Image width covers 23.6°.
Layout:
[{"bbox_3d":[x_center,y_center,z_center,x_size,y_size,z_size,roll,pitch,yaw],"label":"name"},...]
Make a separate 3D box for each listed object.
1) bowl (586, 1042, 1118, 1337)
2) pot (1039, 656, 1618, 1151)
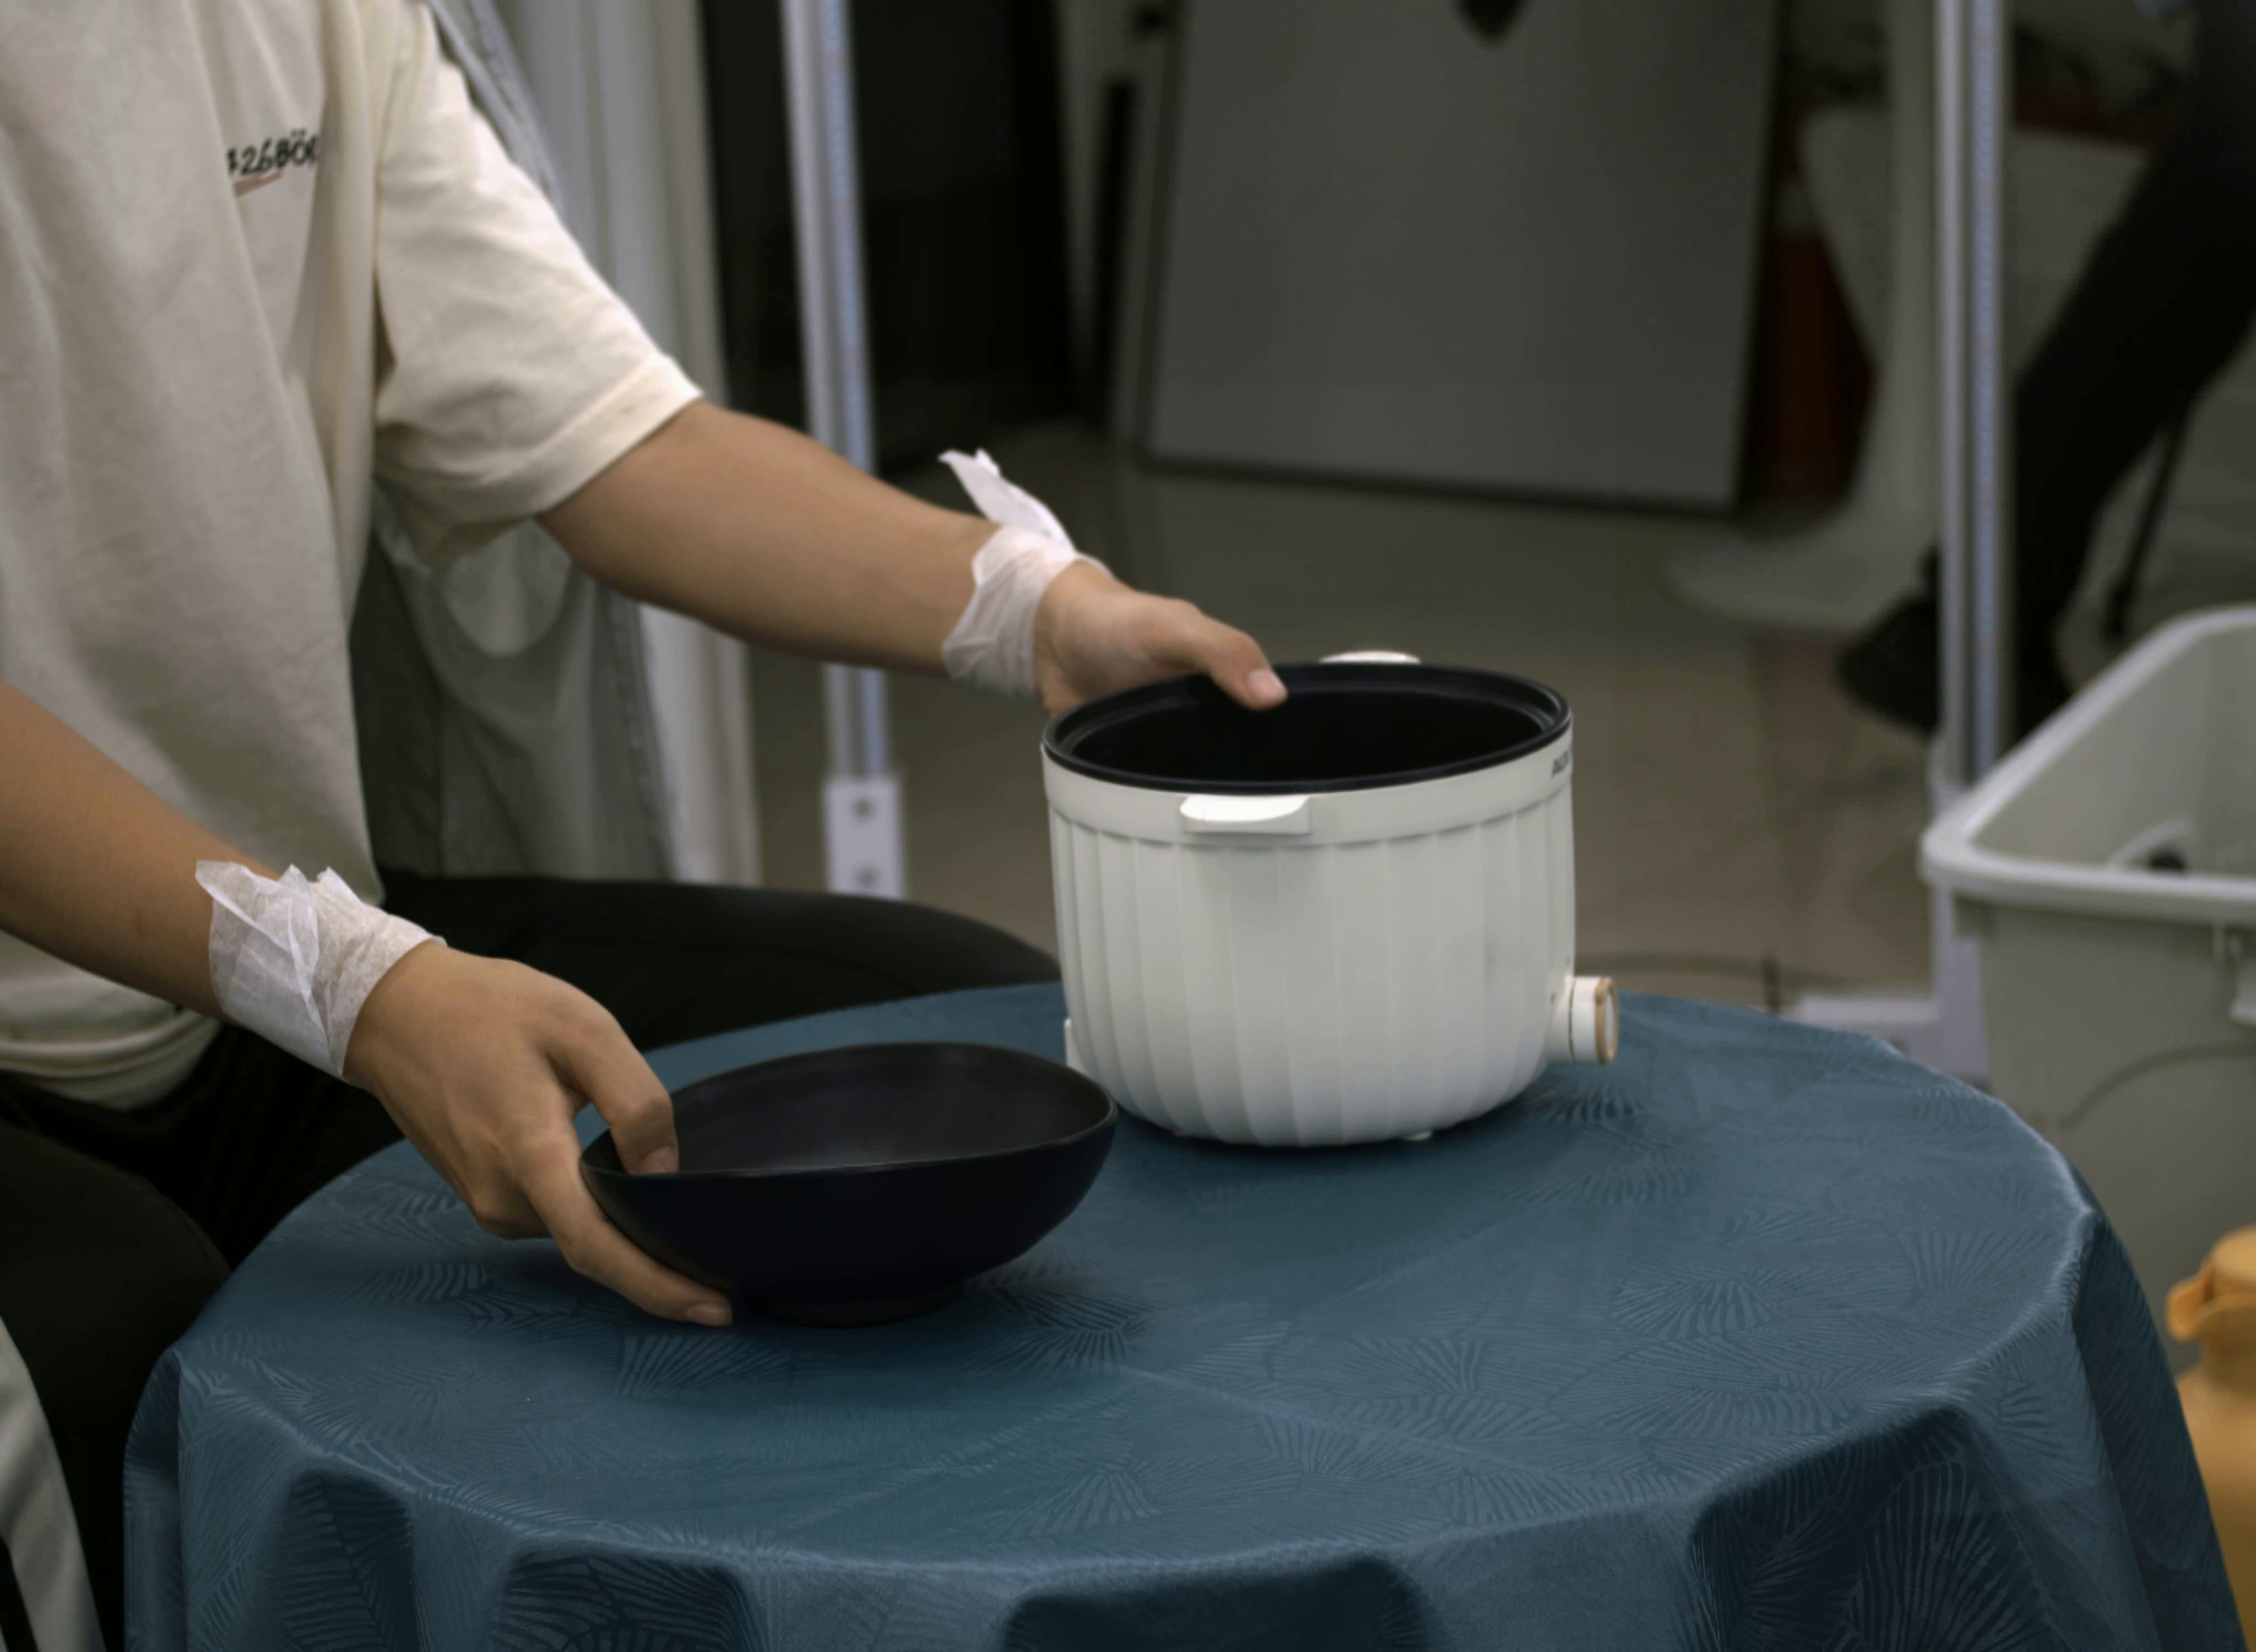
[{"bbox_3d":[-0.085,0.118,1.680,0.168,0.067,0.137,-4,12,6],"label":"bowl"},{"bbox_3d":[0.069,0.028,1.842,0.190,0.144,0.239,-4,14,15],"label":"pot"}]
